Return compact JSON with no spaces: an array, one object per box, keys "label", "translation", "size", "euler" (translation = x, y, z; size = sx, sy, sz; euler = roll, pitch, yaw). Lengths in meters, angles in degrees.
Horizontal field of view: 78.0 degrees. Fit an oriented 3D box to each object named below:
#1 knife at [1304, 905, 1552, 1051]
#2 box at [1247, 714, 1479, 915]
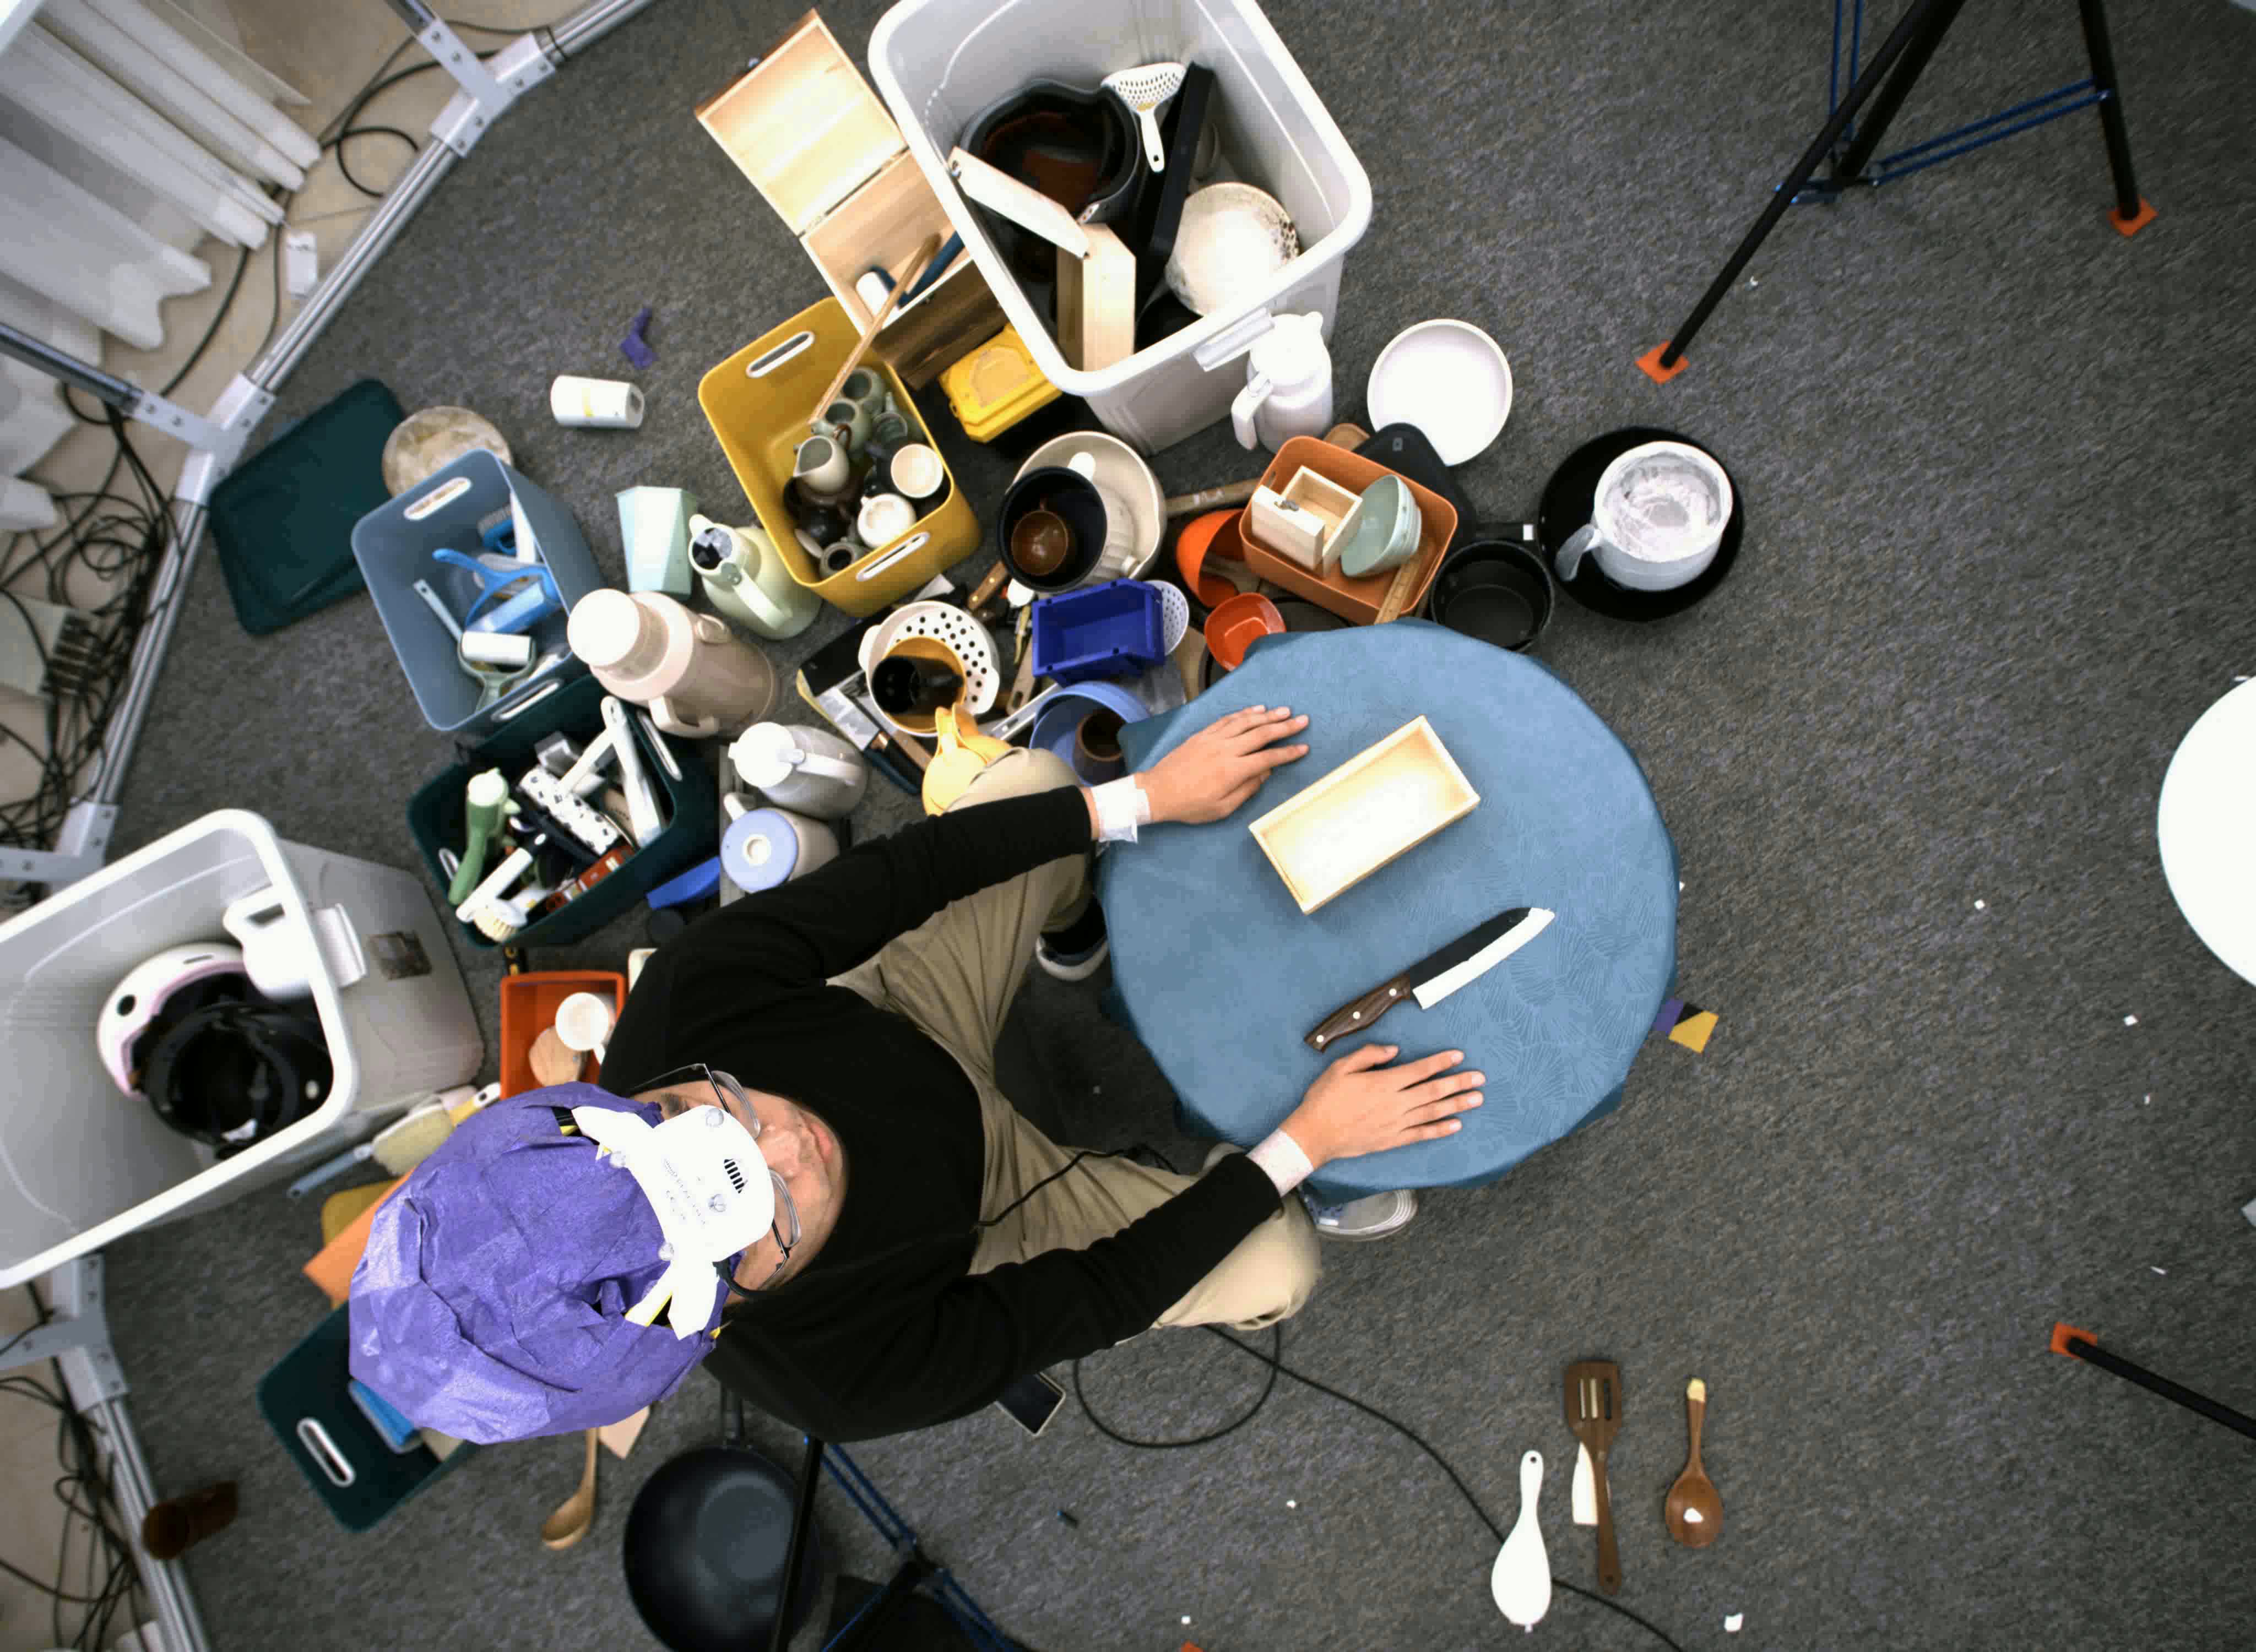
[{"label":"knife","translation":[0.314,0.157,1.440],"size":[0.290,0.020,0.050],"euler":[-29,87,5]},{"label":"box","translation":[0.242,-0.011,1.430],"size":[0.212,0.080,0.107],"euler":[-33,80,6]}]
